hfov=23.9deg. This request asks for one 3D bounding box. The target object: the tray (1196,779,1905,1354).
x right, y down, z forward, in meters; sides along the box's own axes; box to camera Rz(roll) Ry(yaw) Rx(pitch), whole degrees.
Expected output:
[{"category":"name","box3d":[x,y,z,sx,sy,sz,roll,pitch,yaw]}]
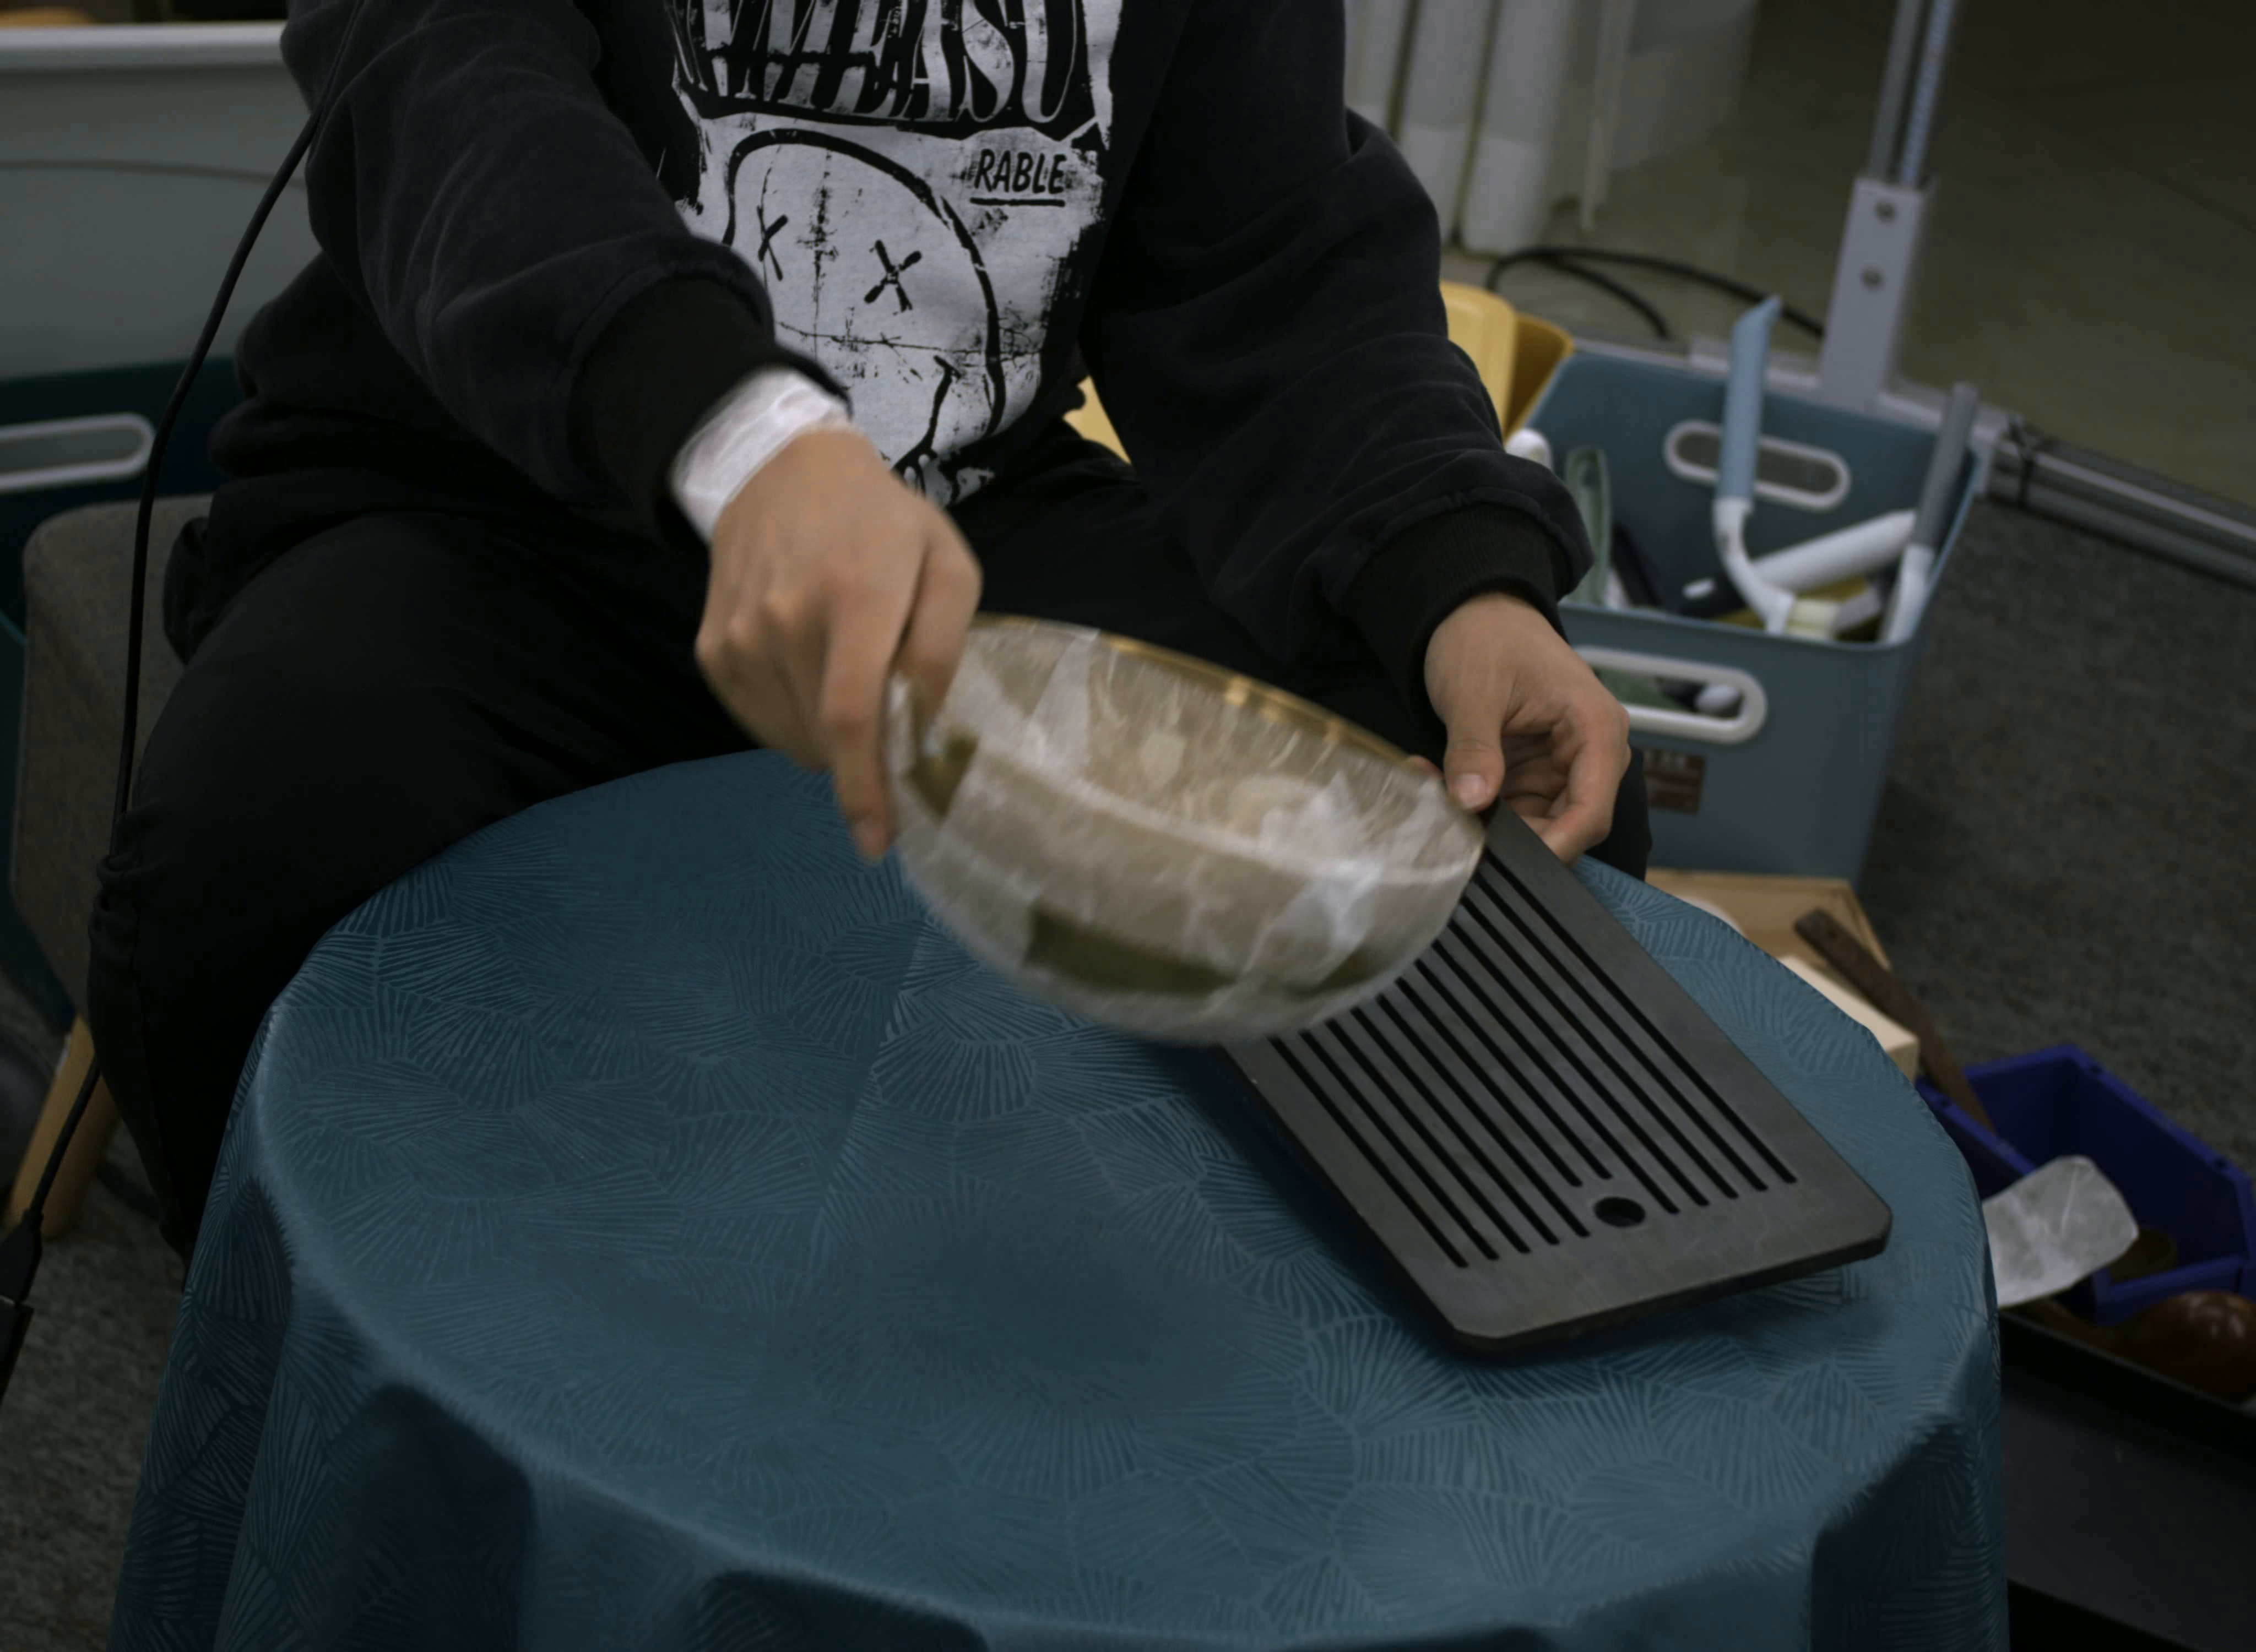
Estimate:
[{"category":"tray","box3d":[0.123,0.080,1.859,0.169,0.018,0.309,-12,36,-22]}]

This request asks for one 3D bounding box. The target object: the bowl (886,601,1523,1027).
[{"category":"bowl","box3d":[0.011,0.007,1.703,0.214,0.094,0.215,17,15,-5]}]
